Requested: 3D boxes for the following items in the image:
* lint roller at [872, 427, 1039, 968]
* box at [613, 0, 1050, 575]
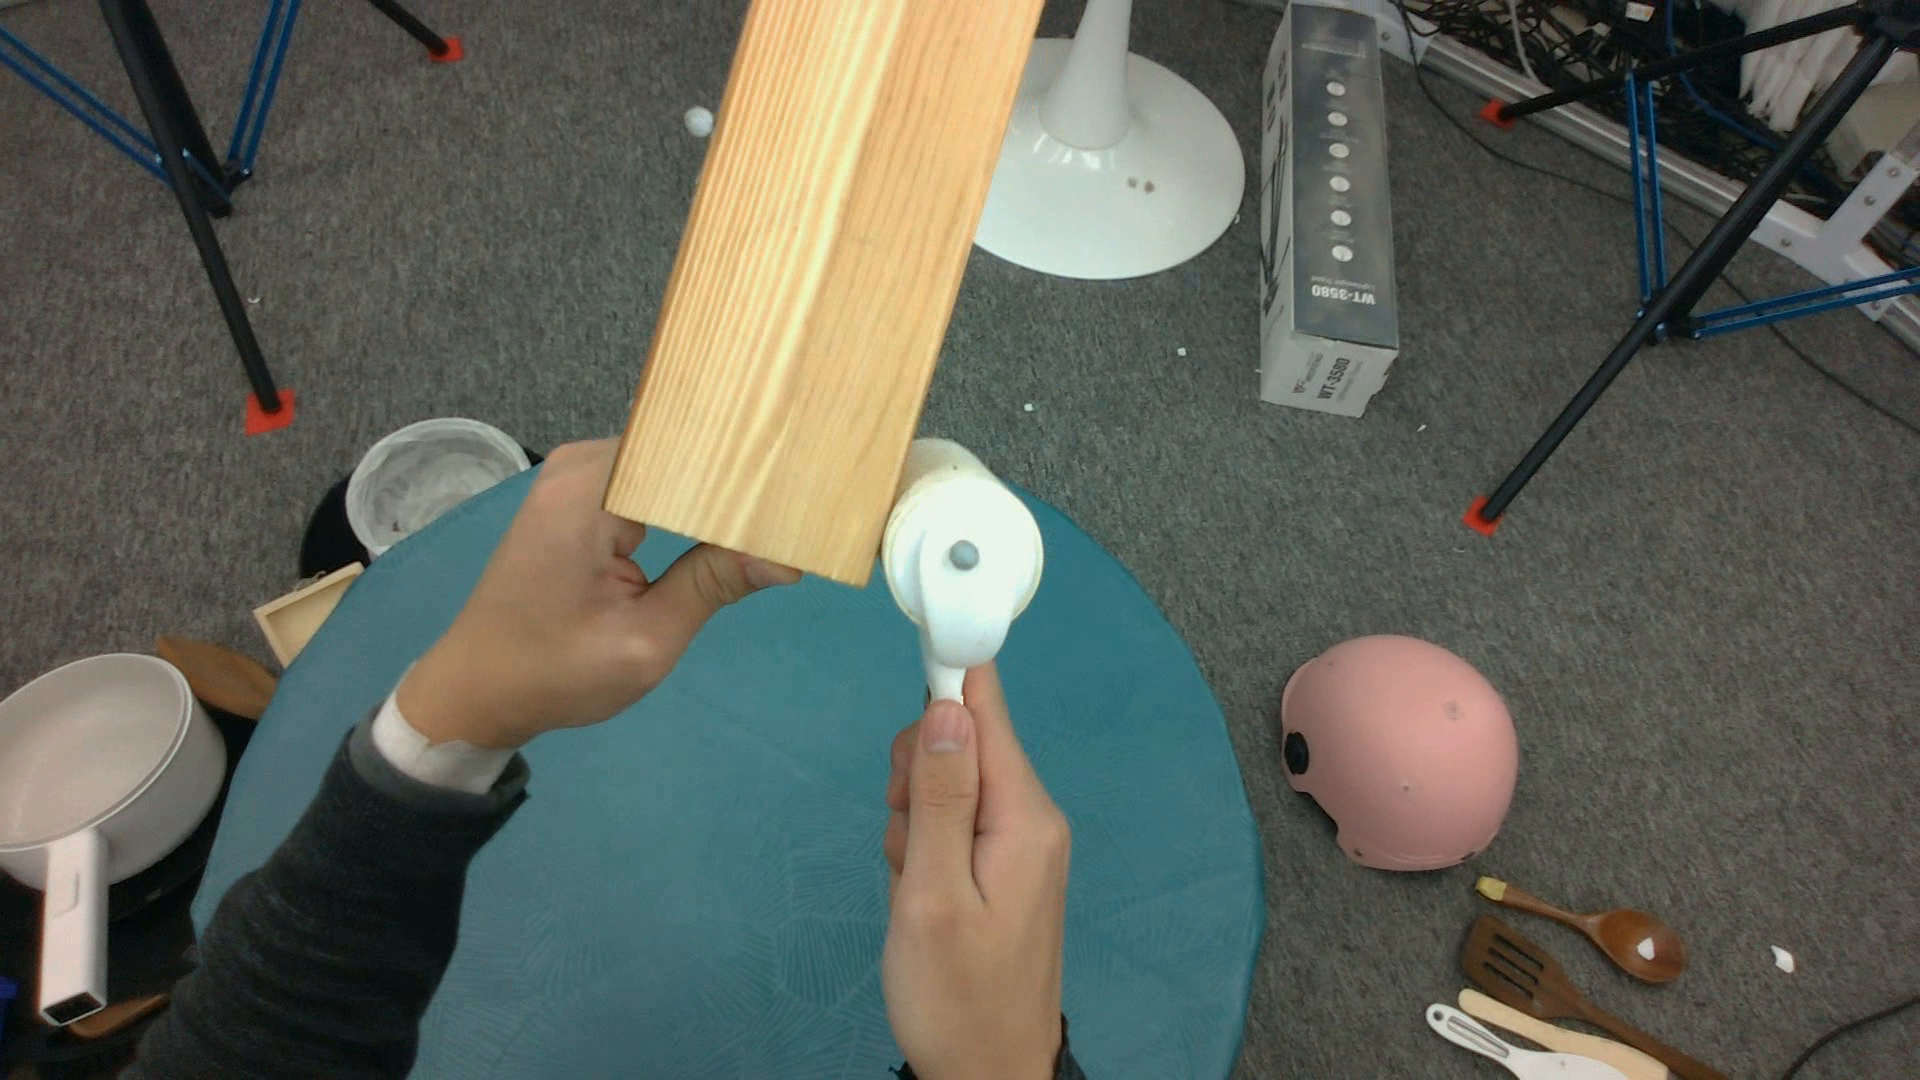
[{"bbox_3d":[0.003,0.056,0.454,0.050,0.133,0.180,-11,101,-7],"label":"lint roller"},{"bbox_3d":[-0.041,-0.105,0.444,0.080,0.107,0.211,17,91,-11],"label":"box"}]
